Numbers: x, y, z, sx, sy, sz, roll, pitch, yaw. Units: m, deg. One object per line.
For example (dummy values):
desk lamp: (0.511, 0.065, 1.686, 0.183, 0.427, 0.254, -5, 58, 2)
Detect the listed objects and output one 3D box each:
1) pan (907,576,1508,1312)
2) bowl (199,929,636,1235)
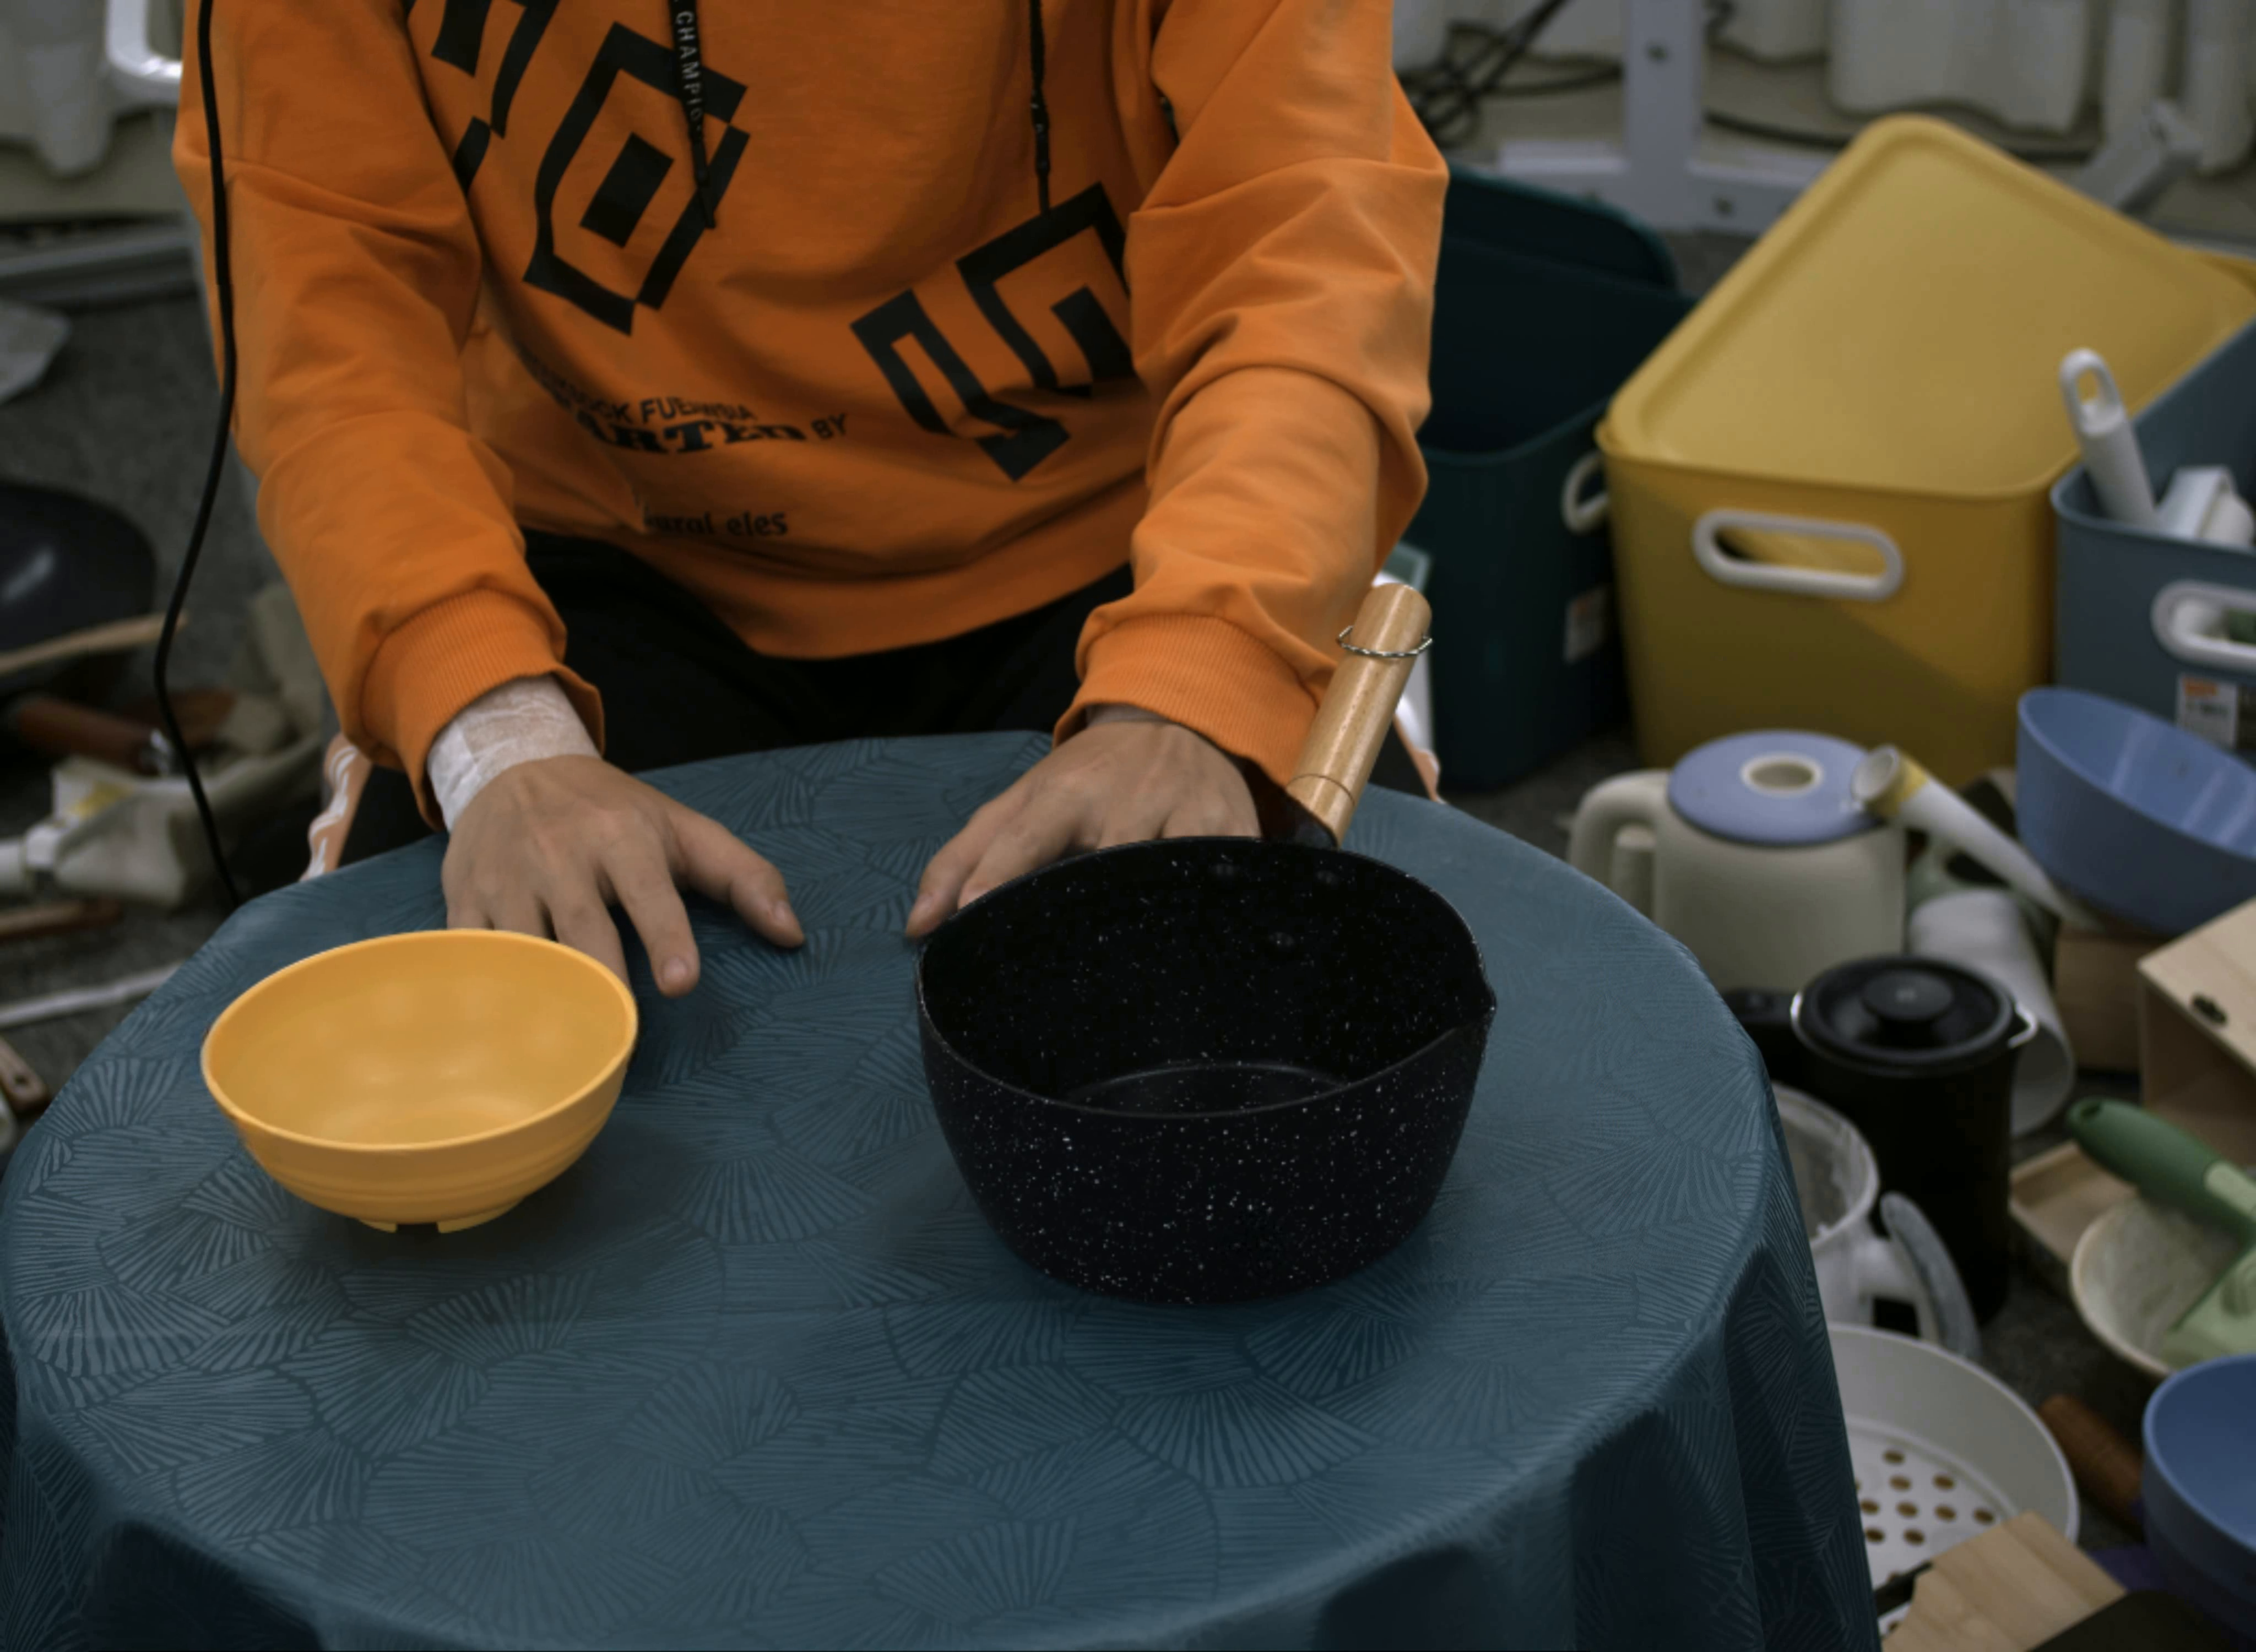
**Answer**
pan: (0.048, 0.036, 1.906, 0.206, 0.107, 0.349, 4, 30, 17)
bowl: (-0.234, 0.095, 1.874, 0.144, 0.059, 0.147, -1, 27, 1)
